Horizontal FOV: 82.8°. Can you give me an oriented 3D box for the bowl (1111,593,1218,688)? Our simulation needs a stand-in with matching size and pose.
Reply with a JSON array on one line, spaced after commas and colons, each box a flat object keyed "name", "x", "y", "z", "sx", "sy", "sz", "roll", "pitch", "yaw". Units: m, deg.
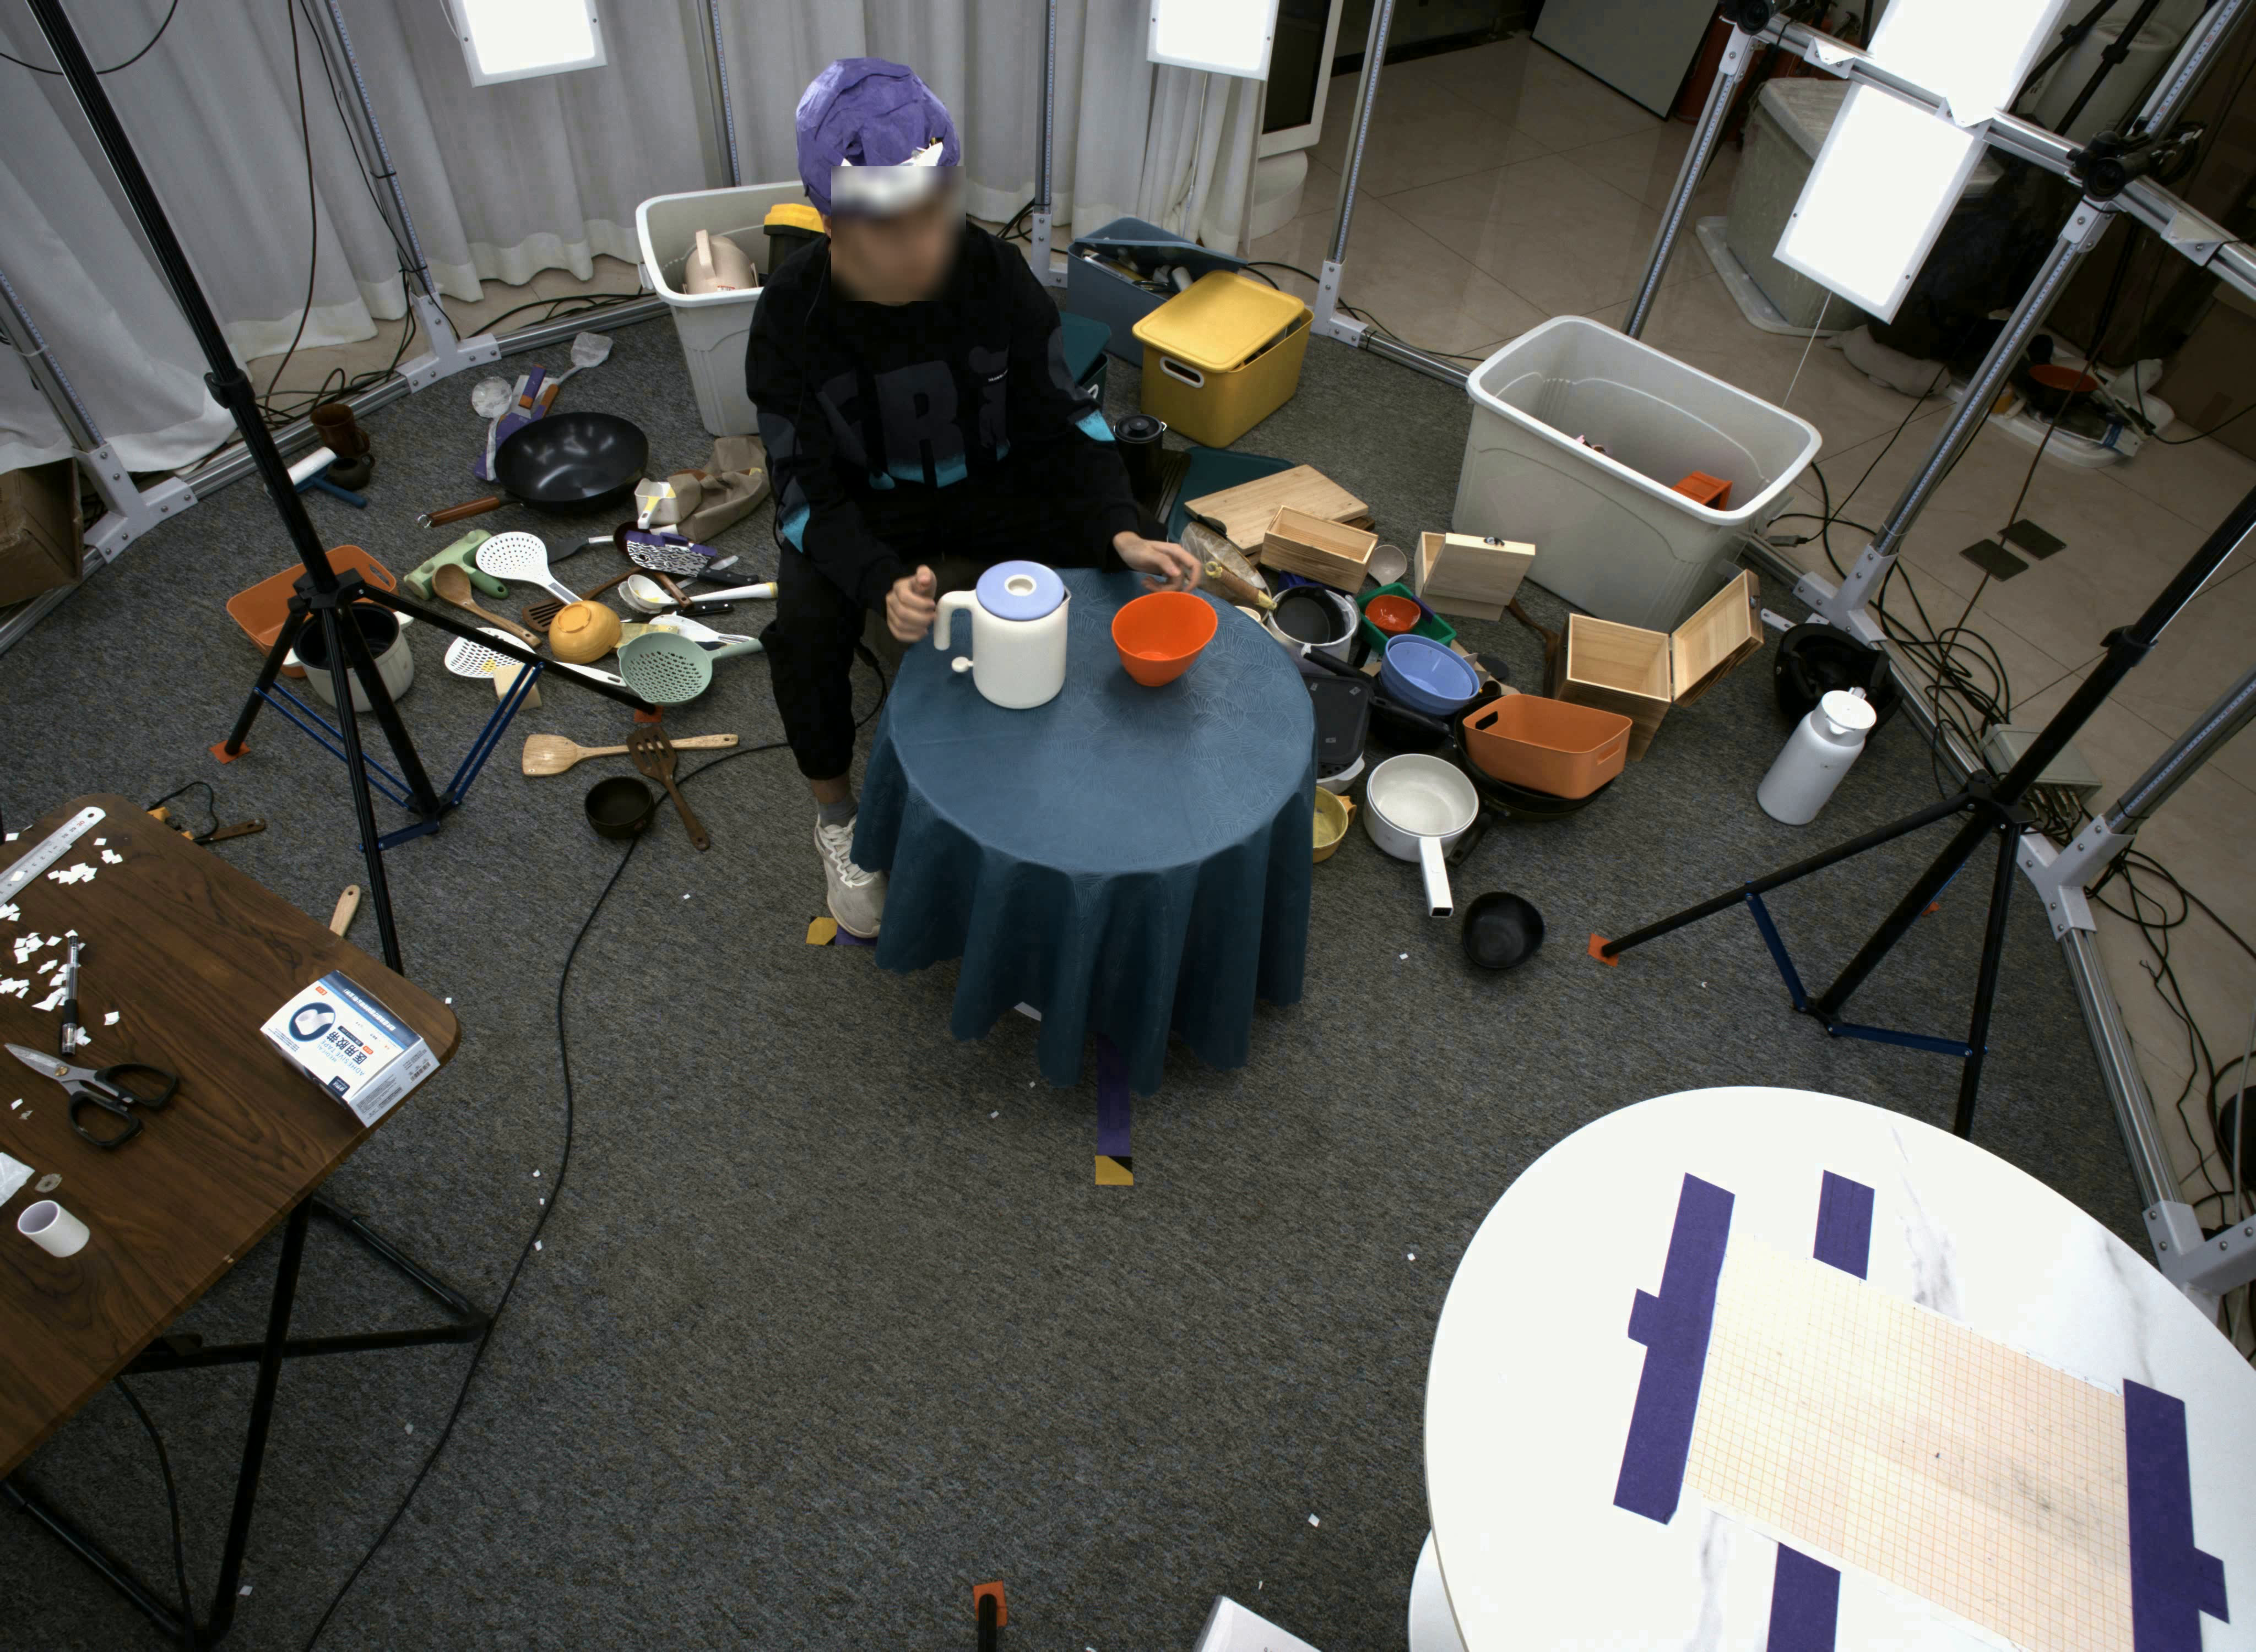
[{"name": "bowl", "x": 0.048, "y": -0.253, "z": 1.826, "sx": 0.148, "sy": 0.102, "sz": 0.152, "roll": 2, "pitch": 49, "yaw": -3}]

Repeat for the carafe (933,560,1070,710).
[{"name": "carafe", "x": -0.173, "y": -0.263, "z": 1.776, "sx": 0.191, "sy": 0.178, "sz": 0.135, "roll": 1, "pitch": 48, "yaw": 0}]
